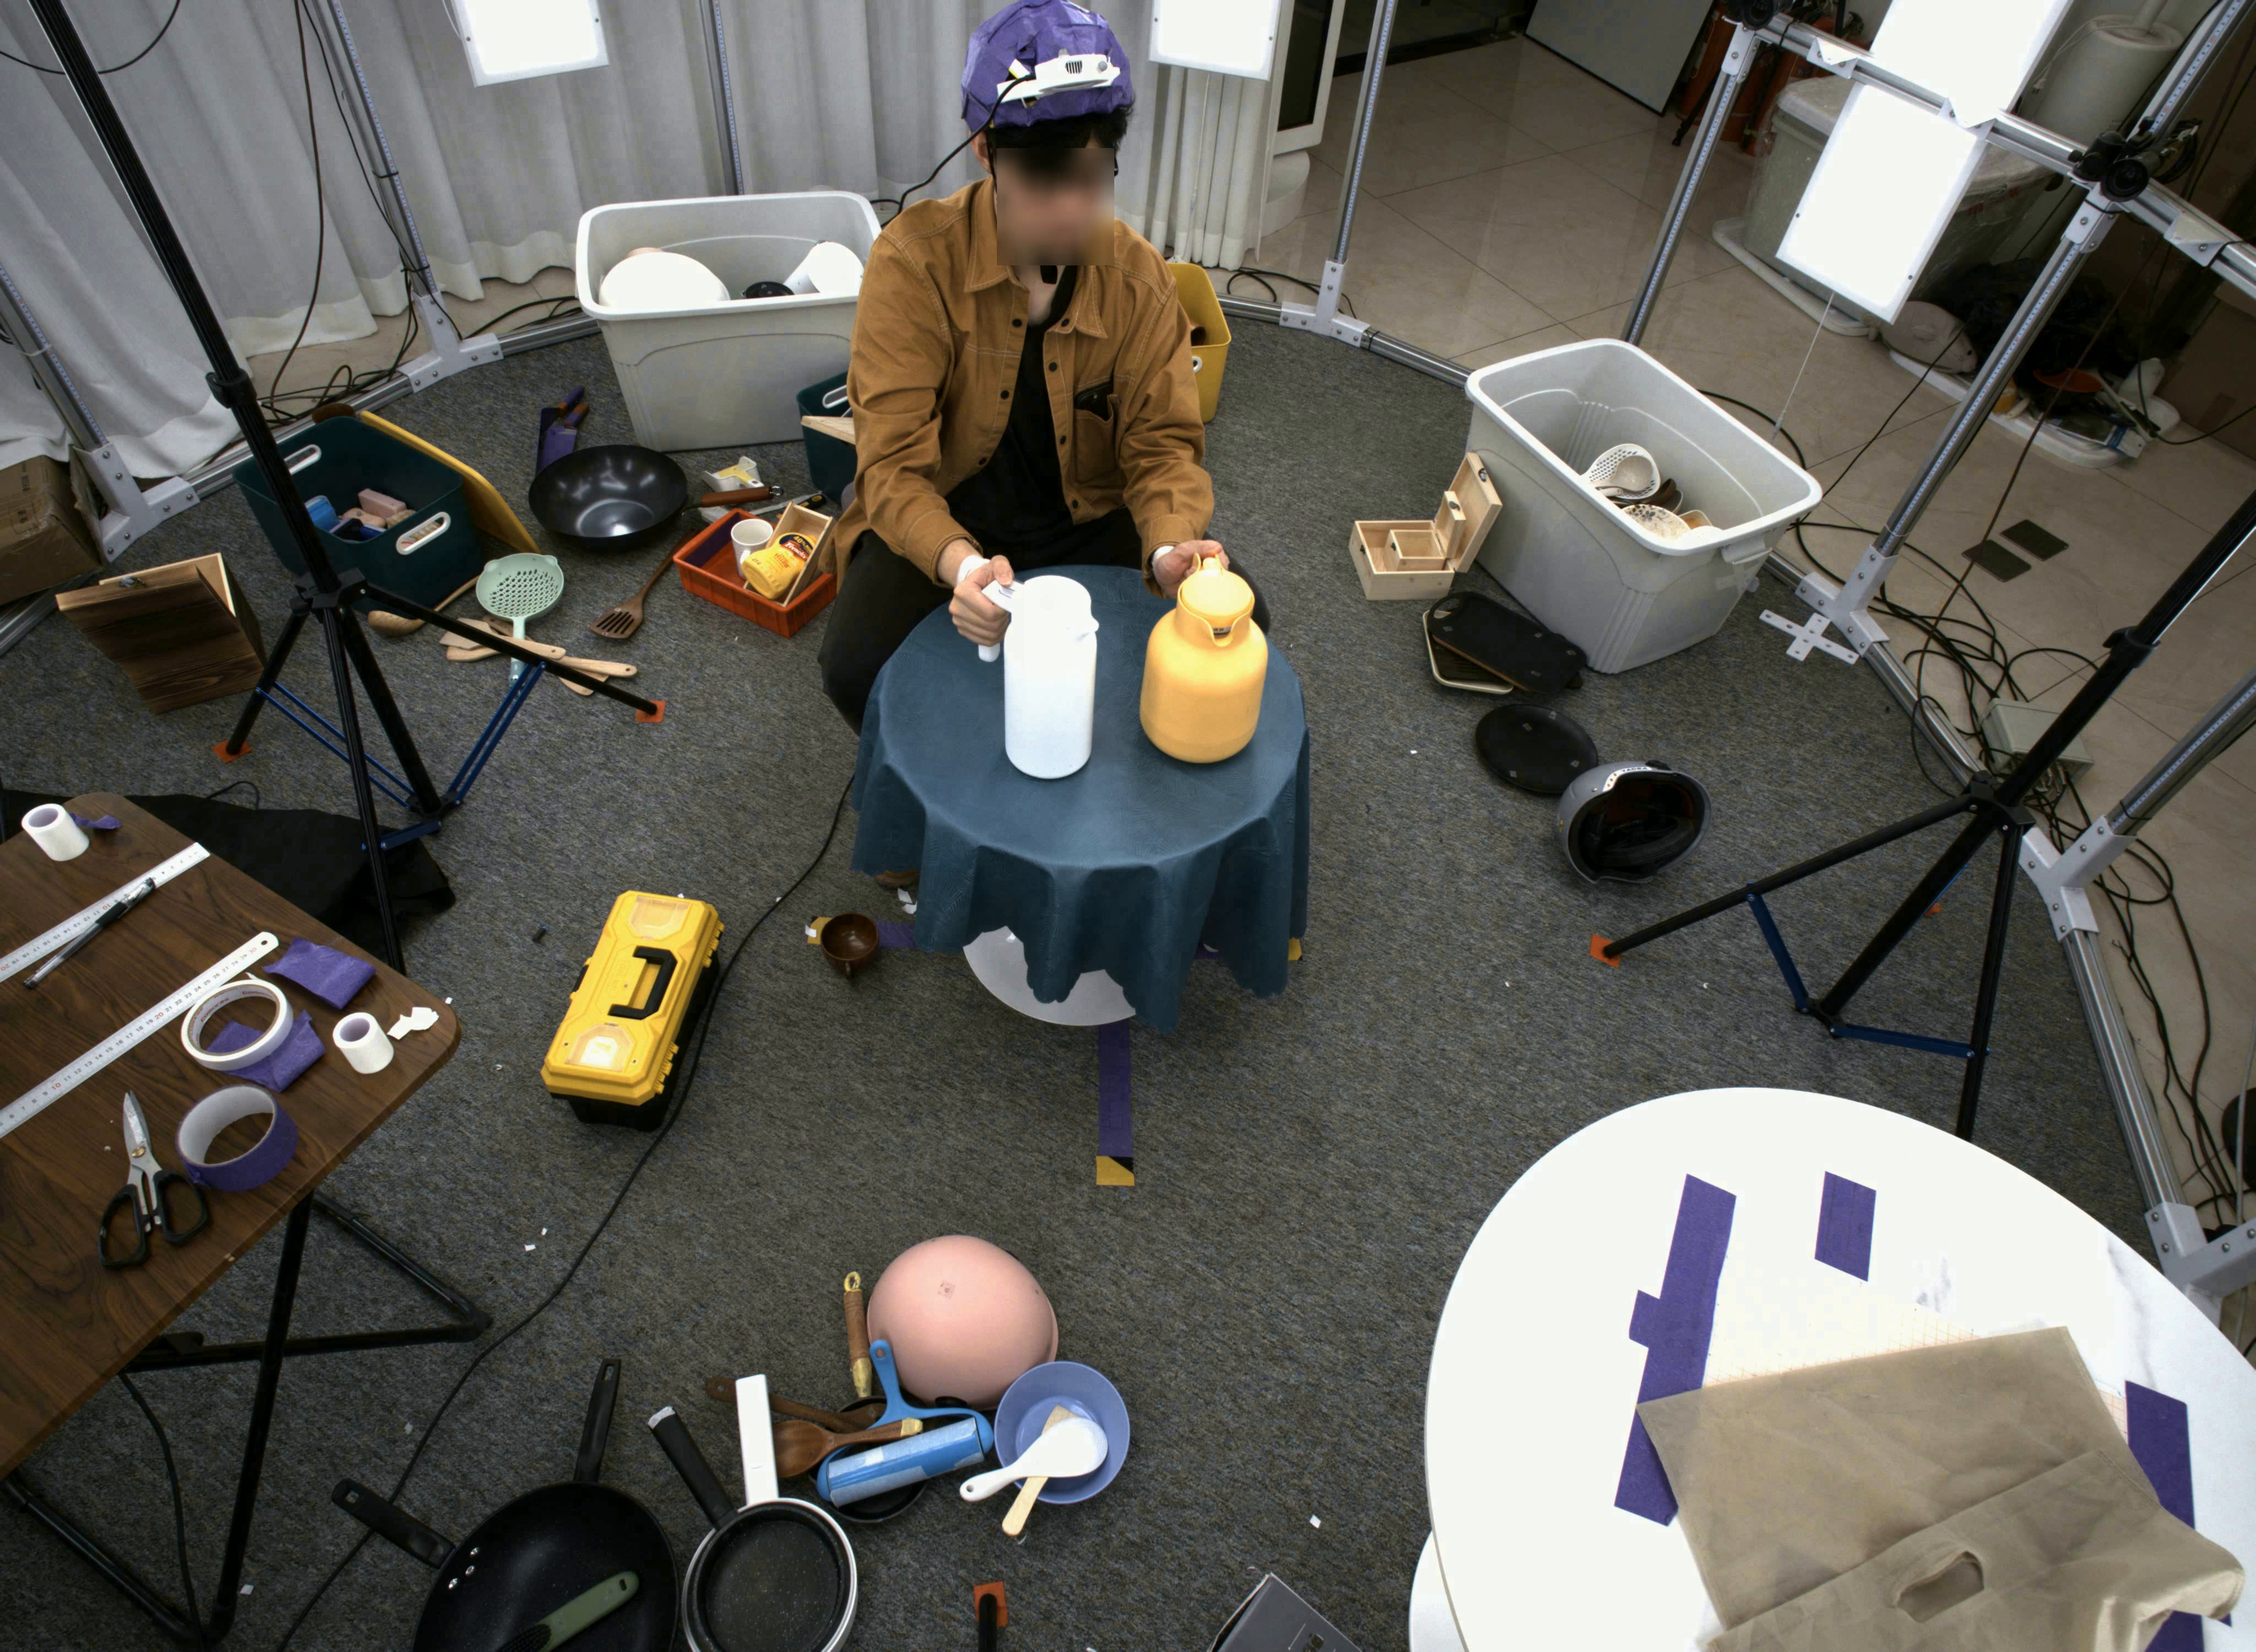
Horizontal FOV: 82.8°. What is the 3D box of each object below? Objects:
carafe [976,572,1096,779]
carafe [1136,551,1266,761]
[{"bbox_3d":[-0.117,-0.195,1.658,0.174,0.262,0.125,26,55,20],"label":"carafe"},{"bbox_3d":[0.101,-0.232,1.707,0.163,0.254,0.207,3,51,-6],"label":"carafe"}]
